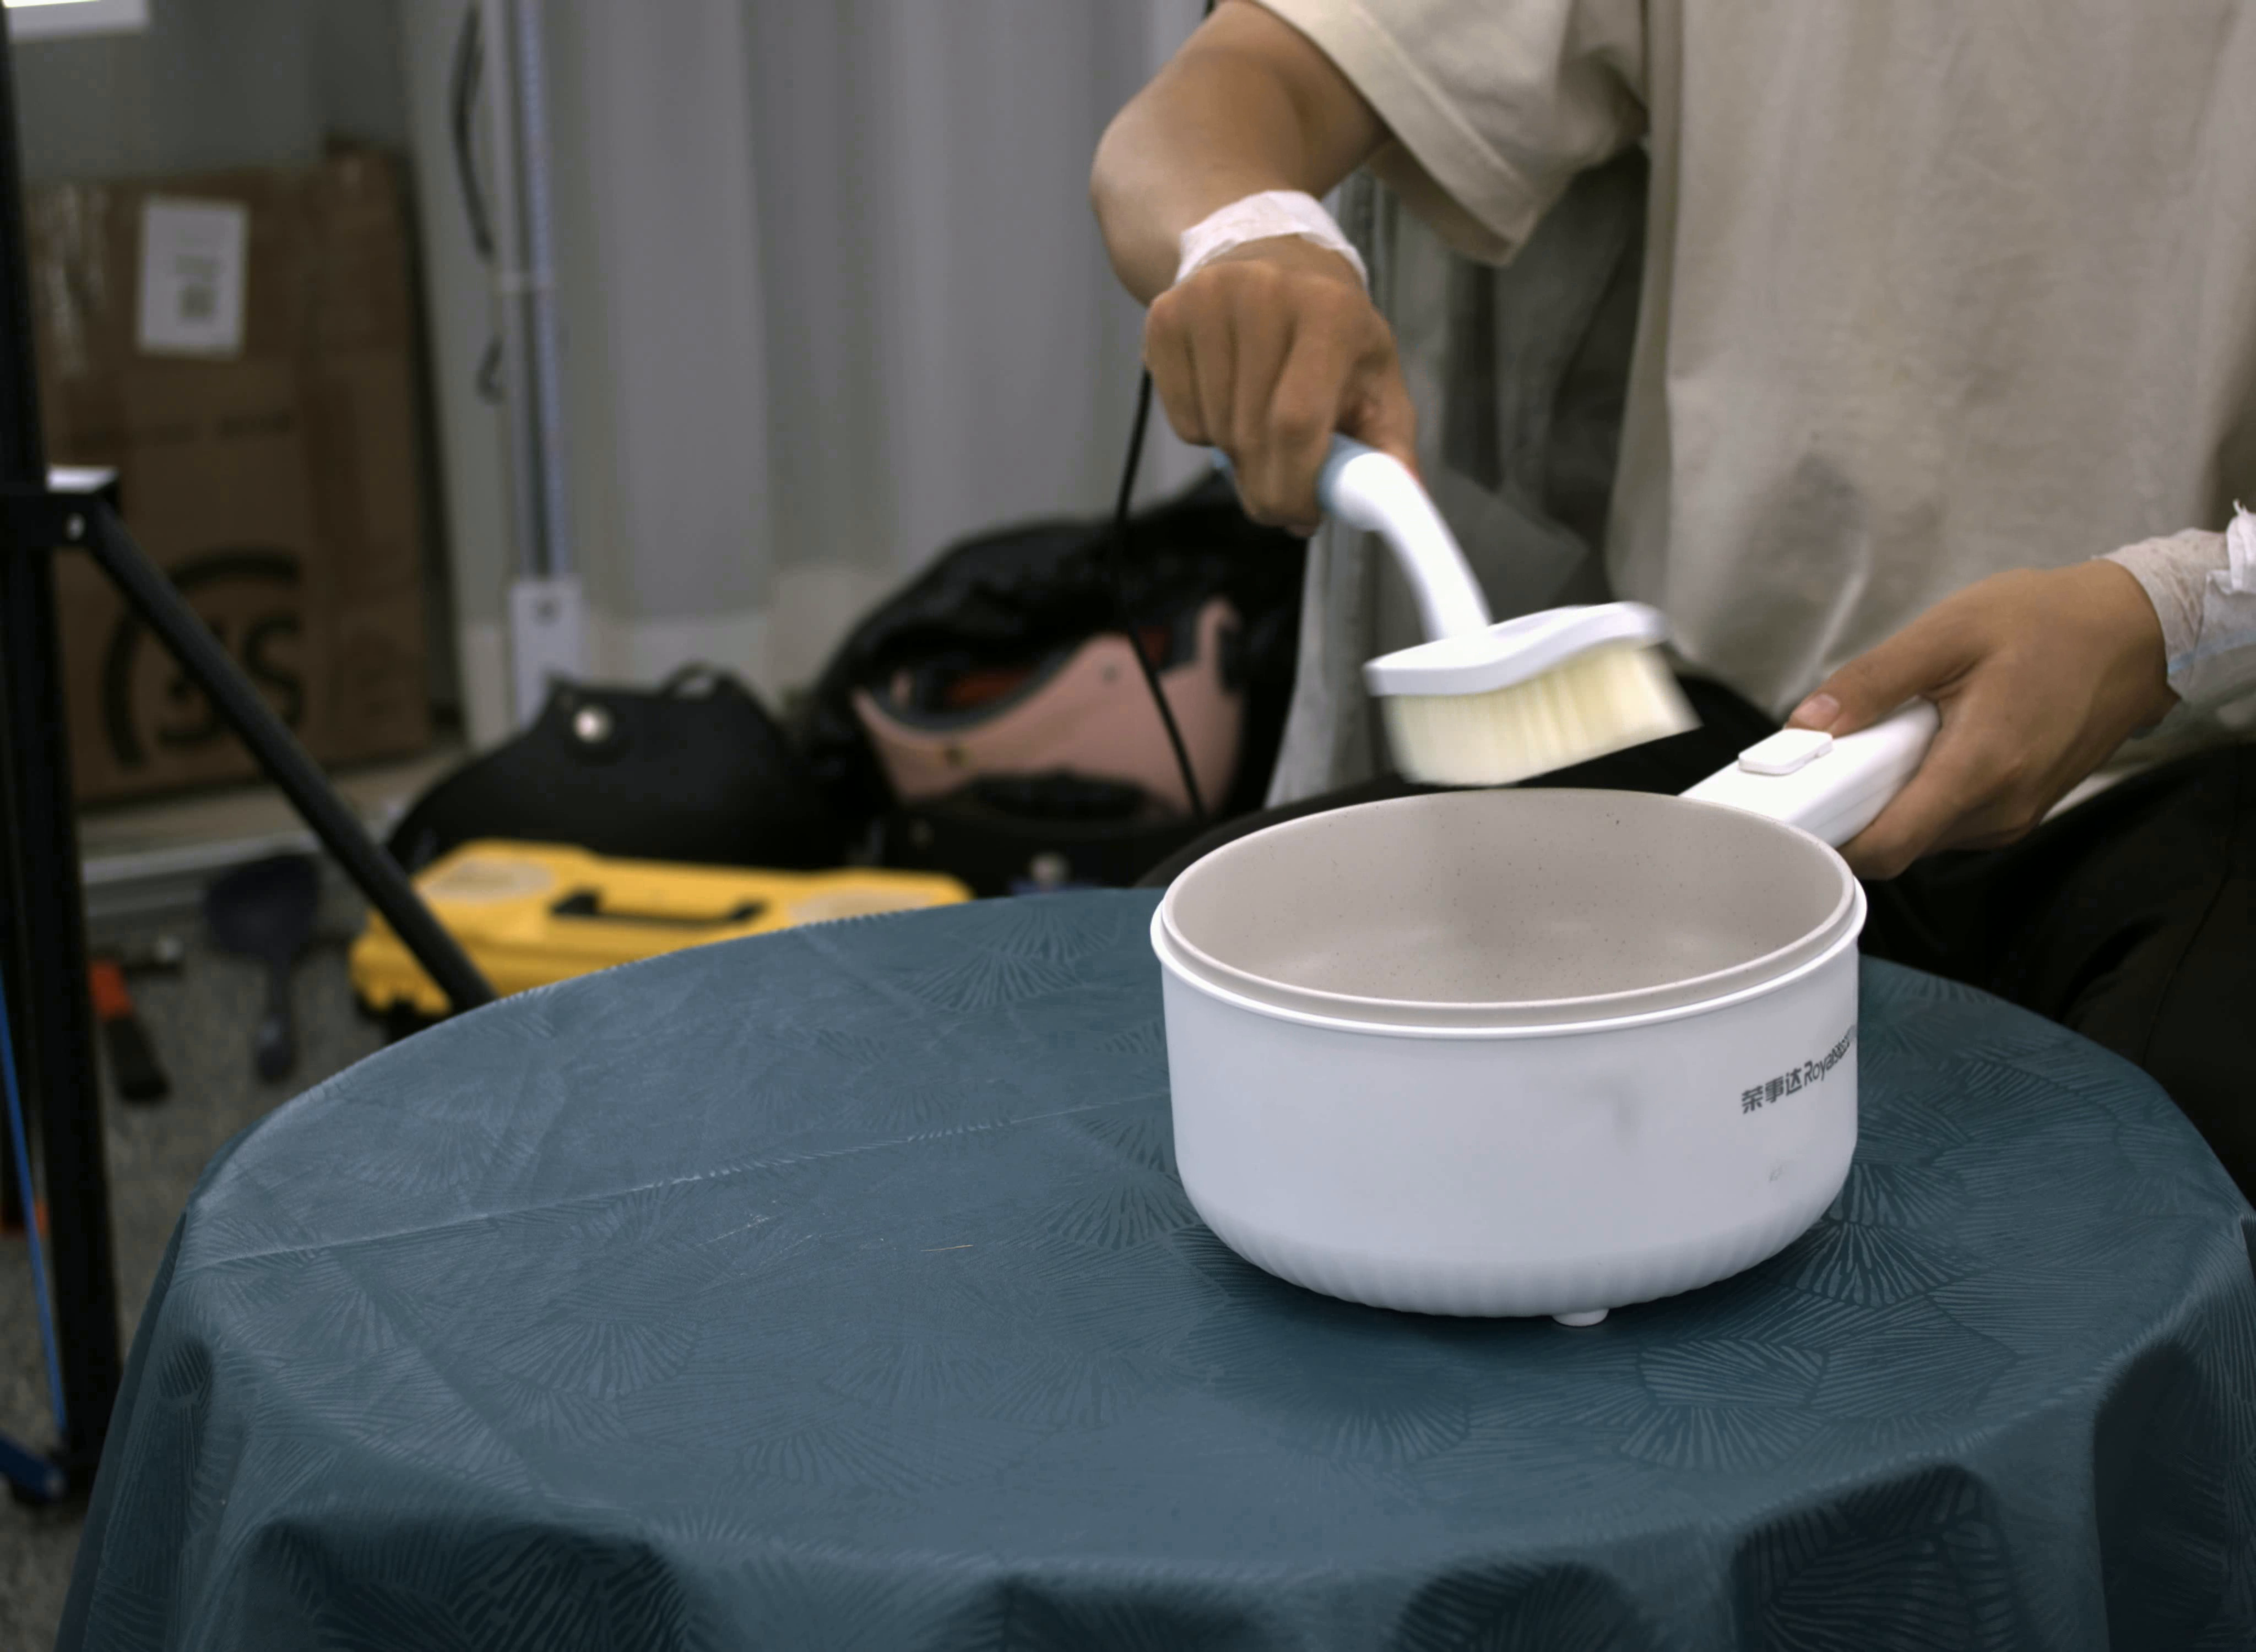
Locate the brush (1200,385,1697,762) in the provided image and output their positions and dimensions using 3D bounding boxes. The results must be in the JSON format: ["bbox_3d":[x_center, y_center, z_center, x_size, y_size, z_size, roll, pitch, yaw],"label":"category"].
[{"bbox_3d":[0.096,-0.066,1.654,0.081,0.085,0.331,22,4,-23],"label":"brush"}]

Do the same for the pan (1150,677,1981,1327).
[{"bbox_3d":[0.152,0.046,1.553,0.205,0.102,0.348,8,20,35],"label":"pan"}]
